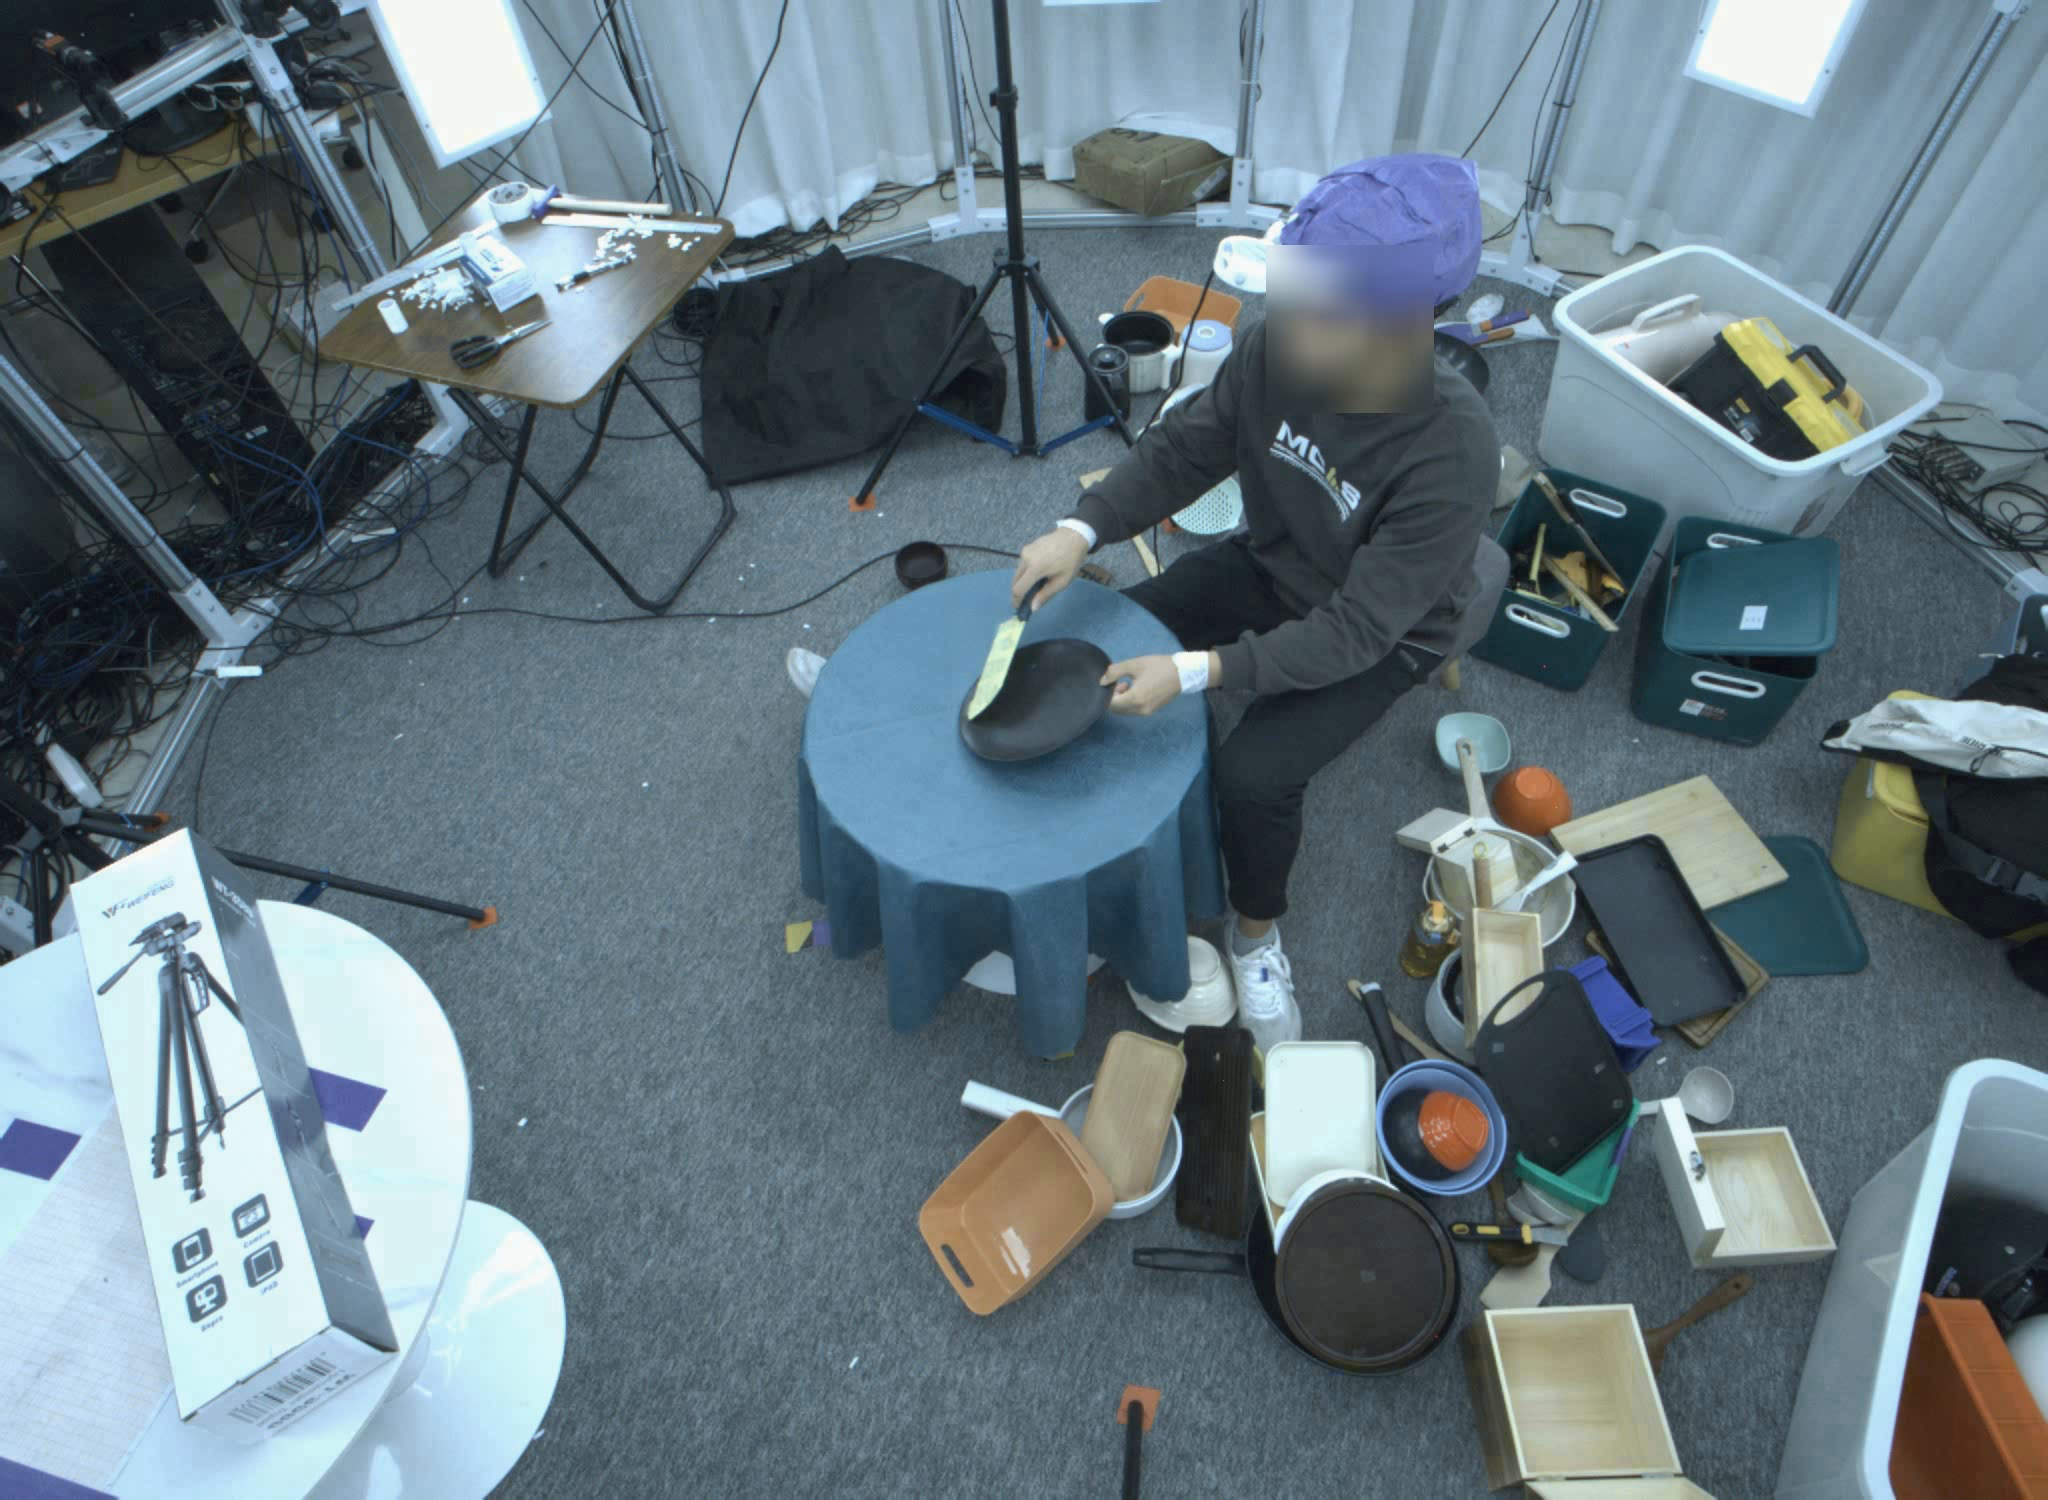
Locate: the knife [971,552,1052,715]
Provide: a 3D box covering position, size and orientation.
[{"bbox_3d":[-0.021,-0.176,1.850,0.079,0.028,0.289,-8,54,53],"label":"knife"}]

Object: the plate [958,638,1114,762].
[{"bbox_3d":[0.019,-0.071,1.795,0.242,0.024,0.242,-13,45,15],"label":"plate"}]
